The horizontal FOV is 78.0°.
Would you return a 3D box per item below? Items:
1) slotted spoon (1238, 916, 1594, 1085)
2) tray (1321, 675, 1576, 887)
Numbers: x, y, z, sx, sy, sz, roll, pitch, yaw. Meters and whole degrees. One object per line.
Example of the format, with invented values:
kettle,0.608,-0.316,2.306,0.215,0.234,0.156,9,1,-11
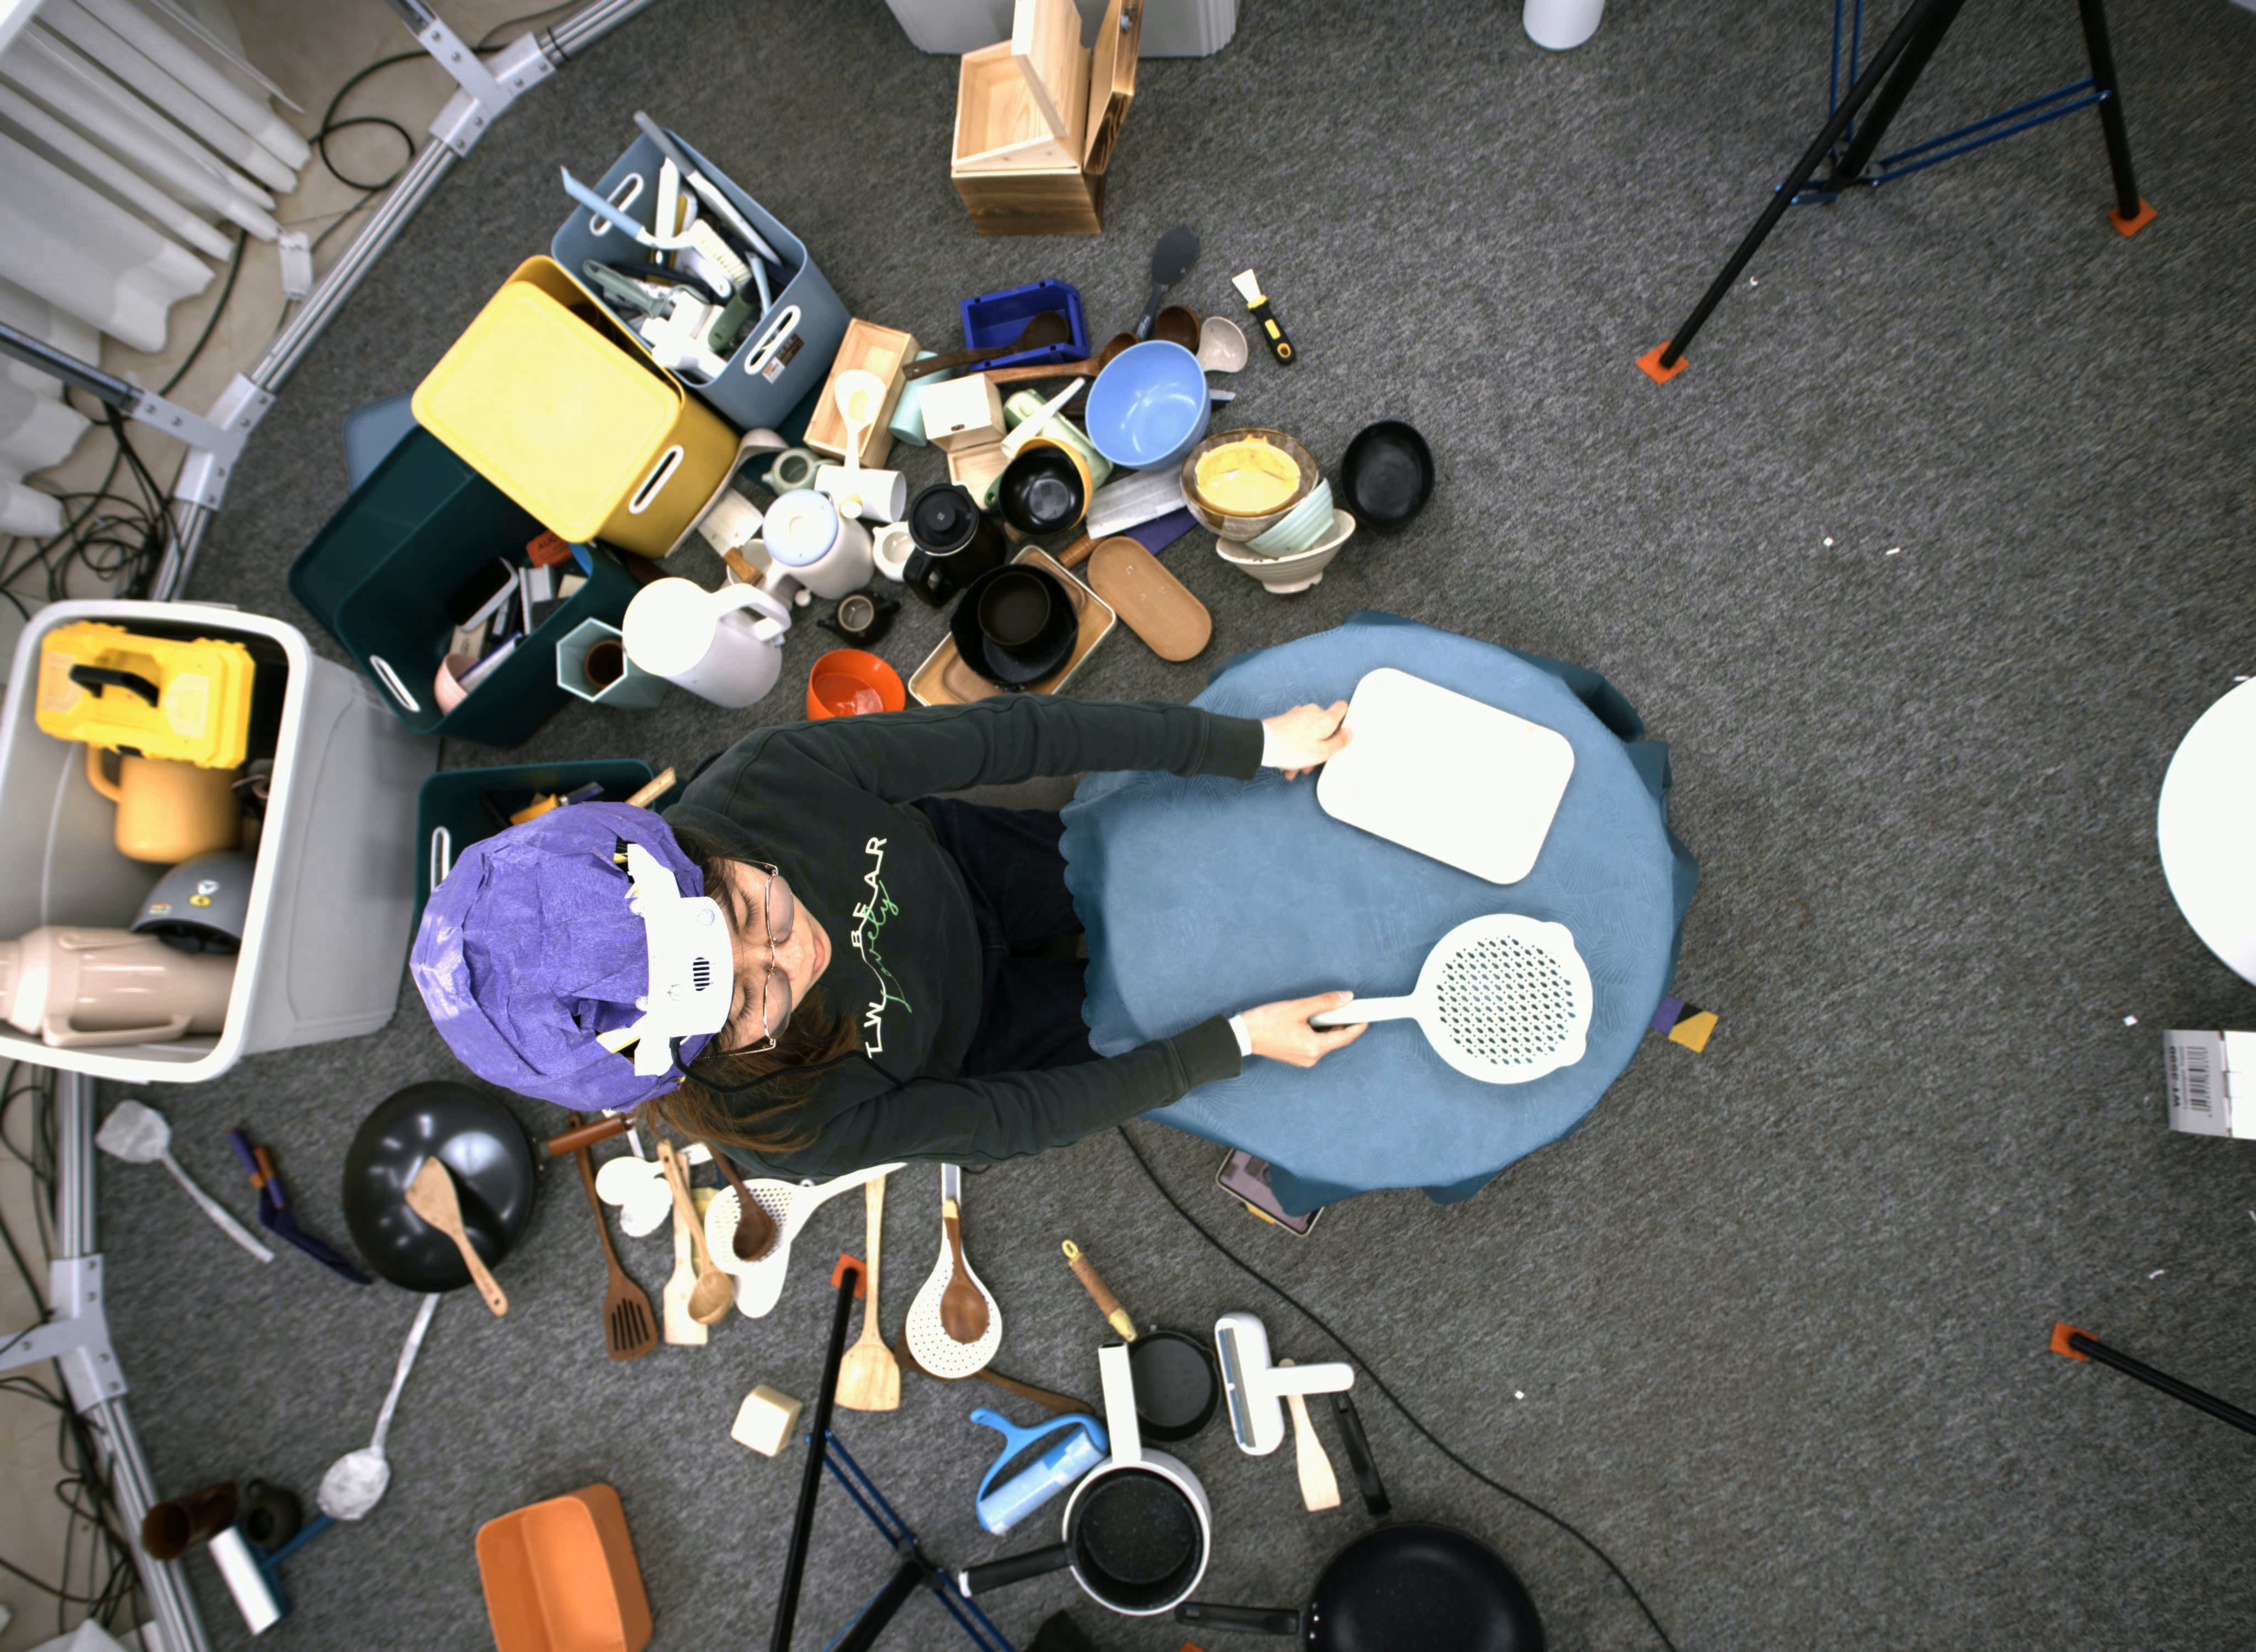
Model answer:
slotted spoon,0.289,0.186,1.419,0.360,0.076,0.167,-5,76,9
tray,0.336,-0.050,1.449,0.239,0.017,0.171,22,90,10
